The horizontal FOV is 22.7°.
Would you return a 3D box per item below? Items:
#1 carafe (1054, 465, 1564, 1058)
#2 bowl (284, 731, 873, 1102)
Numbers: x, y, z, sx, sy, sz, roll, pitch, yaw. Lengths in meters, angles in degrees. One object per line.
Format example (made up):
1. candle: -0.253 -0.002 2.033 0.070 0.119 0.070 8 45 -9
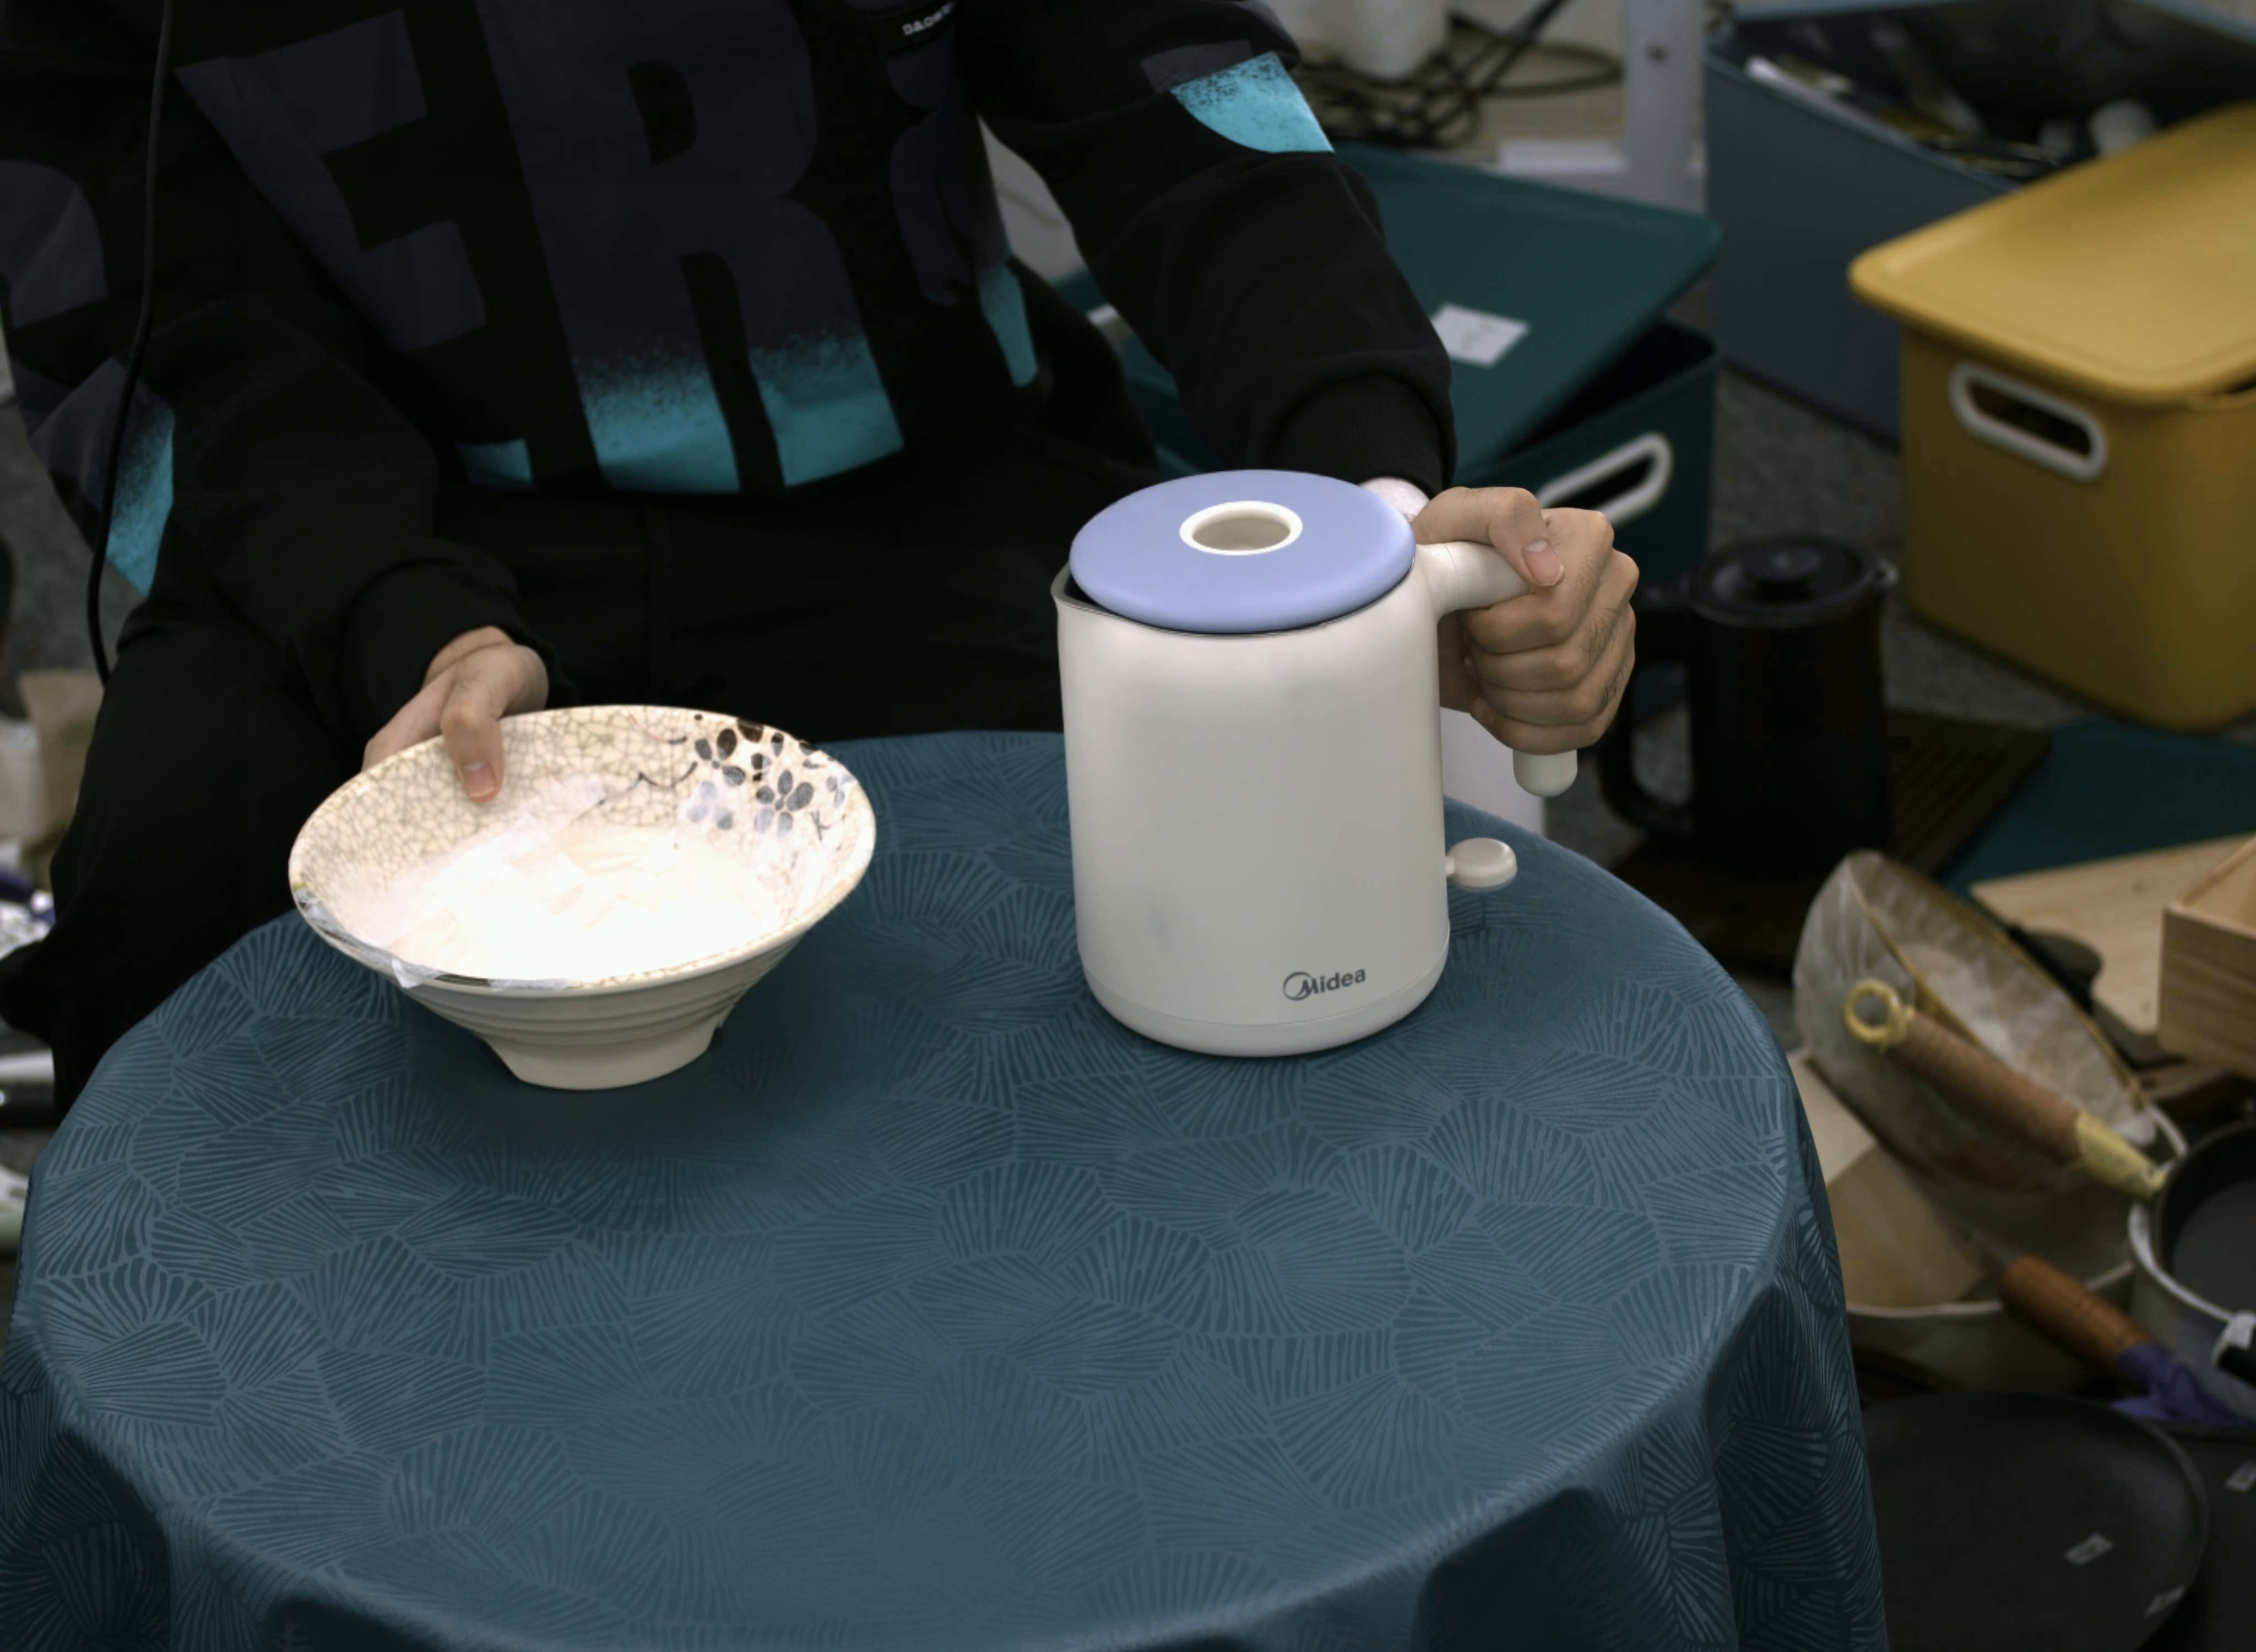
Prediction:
1. carafe: 0.065 -0.027 1.957 0.191 0.180 0.133 -10 29 -18
2. bowl: -0.188 0.042 1.953 0.203 0.077 0.207 -1 24 1
